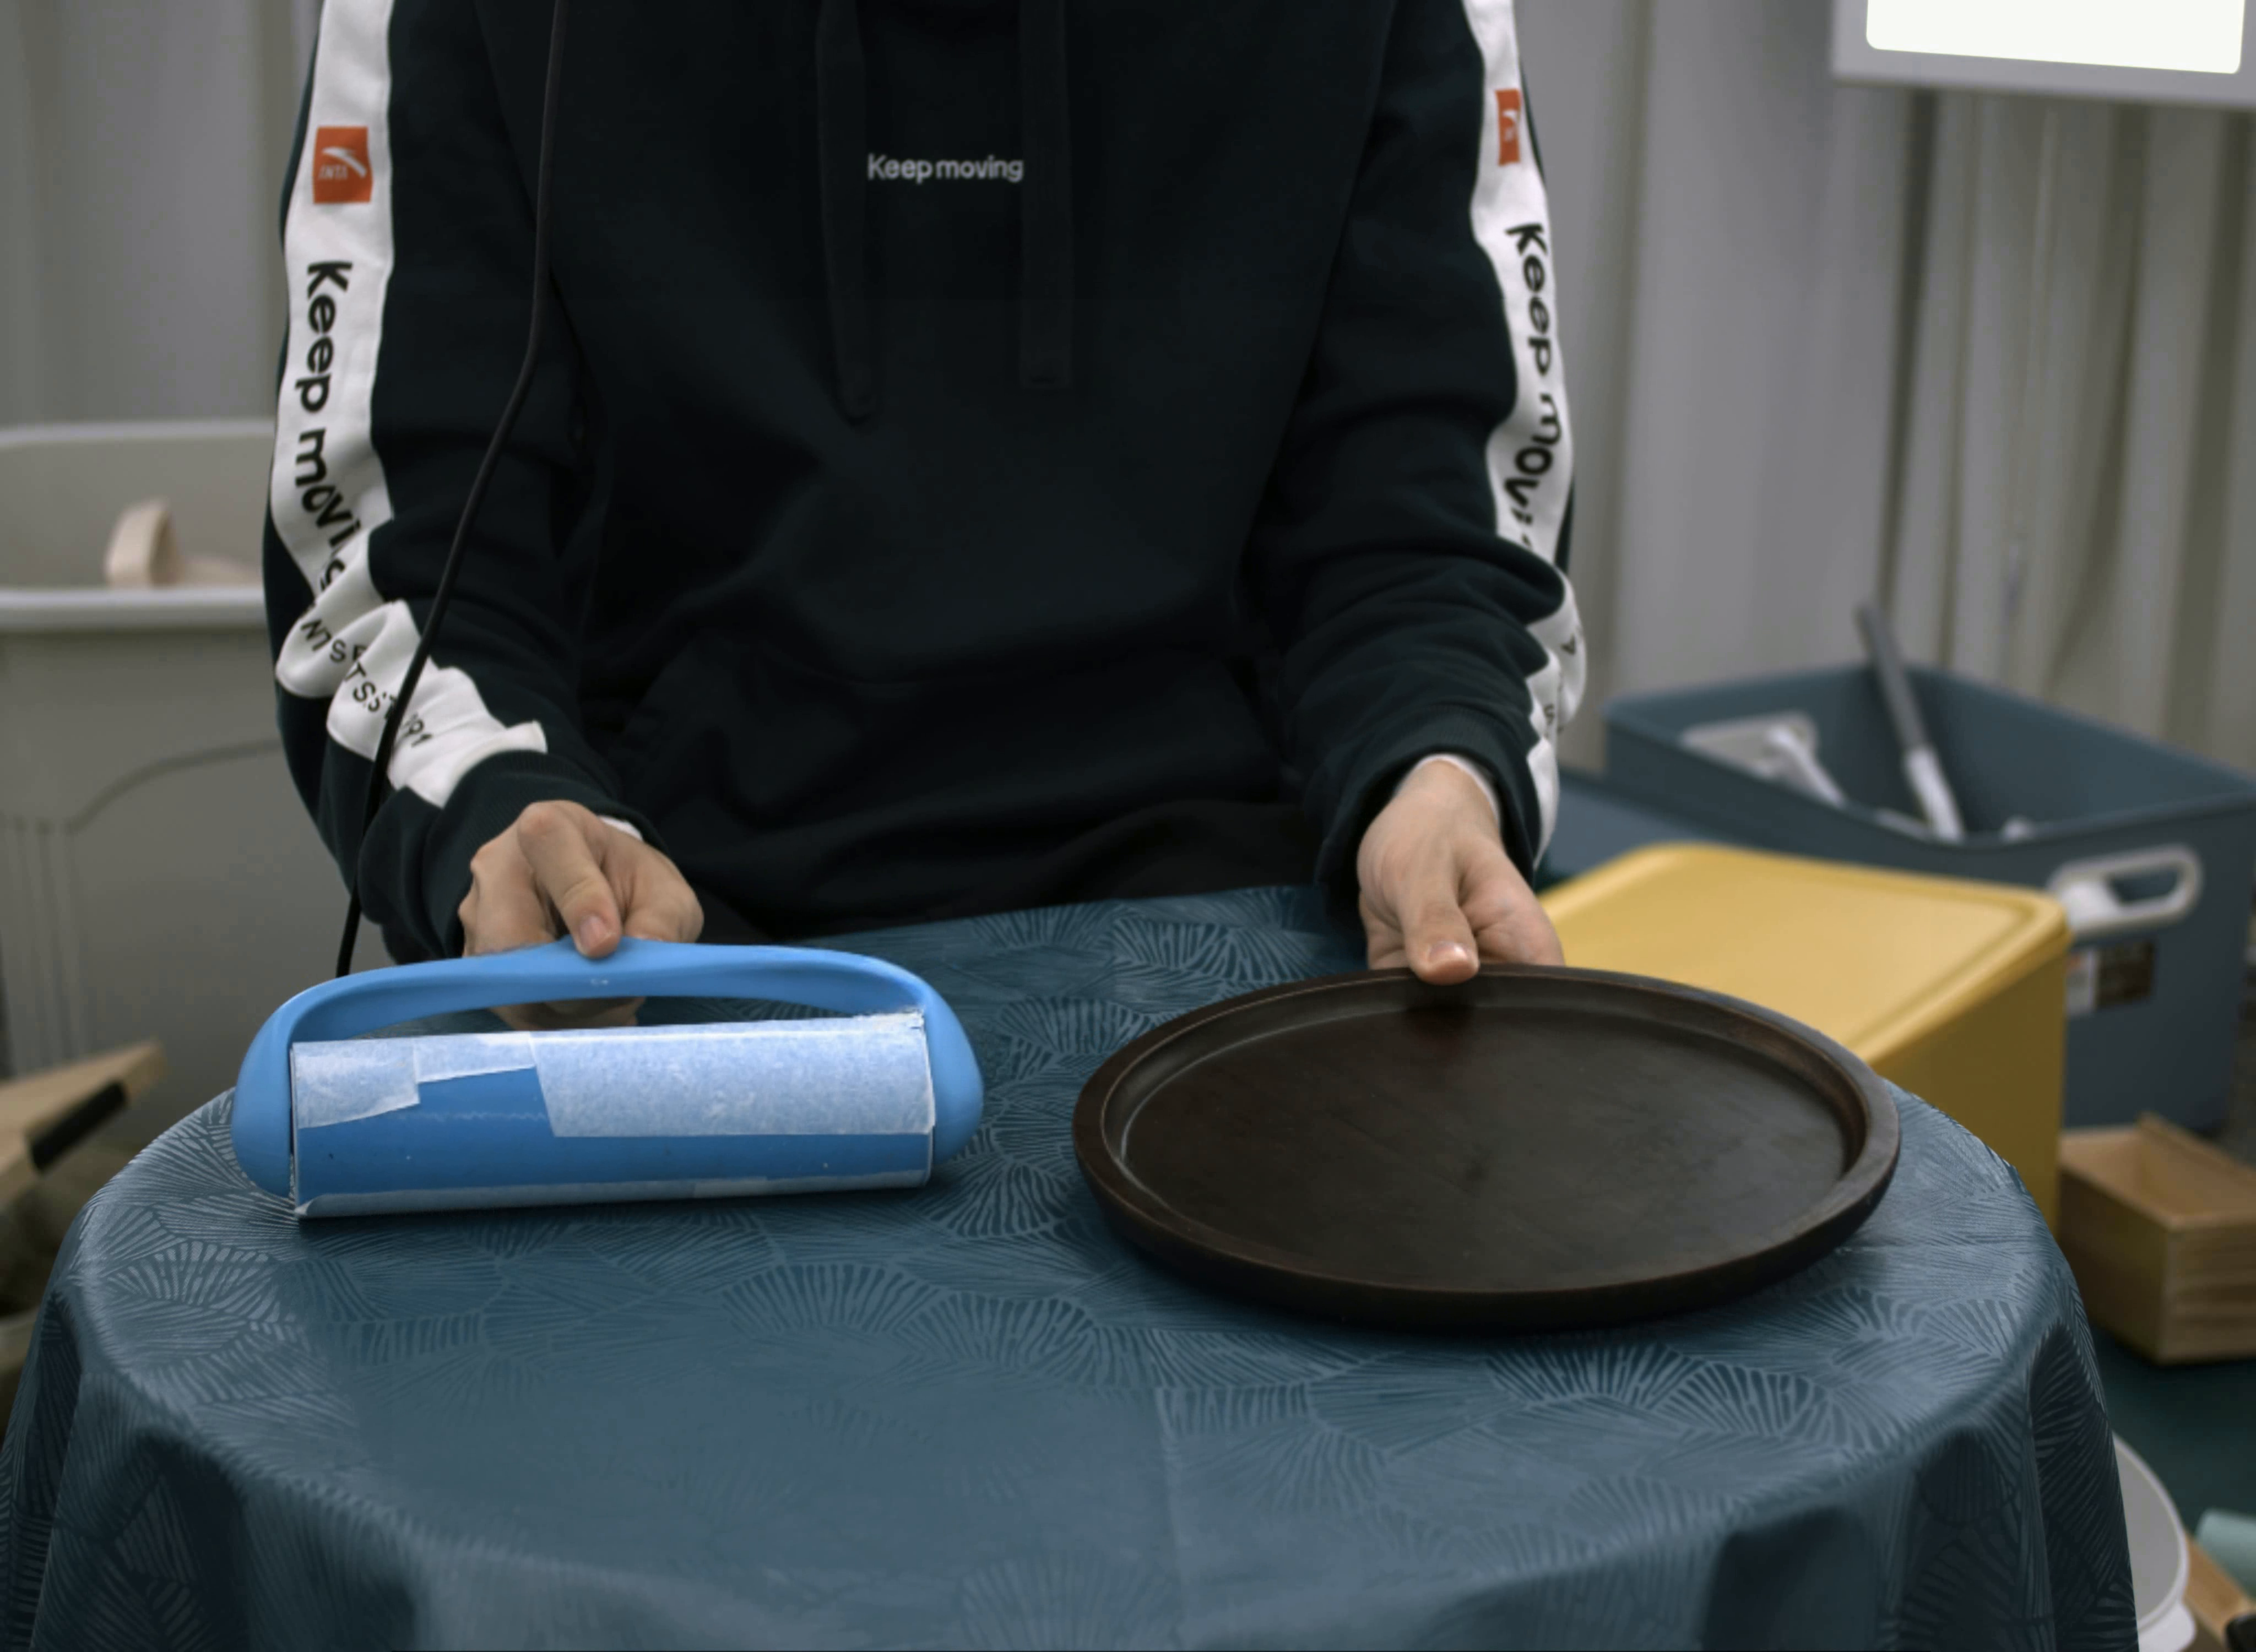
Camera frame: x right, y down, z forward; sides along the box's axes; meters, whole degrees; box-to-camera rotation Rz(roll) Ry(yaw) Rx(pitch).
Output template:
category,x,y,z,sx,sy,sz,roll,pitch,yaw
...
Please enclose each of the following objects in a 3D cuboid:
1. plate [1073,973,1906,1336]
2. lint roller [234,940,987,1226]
category,x,y,z,sx,sy,sz,roll,pitch,yaw
plate,0.109,0.097,1.603,0.254,0.029,0.253,0,20,0
lint roller,-0.168,0.067,1.653,0.229,0.068,0.178,-5,22,-12
